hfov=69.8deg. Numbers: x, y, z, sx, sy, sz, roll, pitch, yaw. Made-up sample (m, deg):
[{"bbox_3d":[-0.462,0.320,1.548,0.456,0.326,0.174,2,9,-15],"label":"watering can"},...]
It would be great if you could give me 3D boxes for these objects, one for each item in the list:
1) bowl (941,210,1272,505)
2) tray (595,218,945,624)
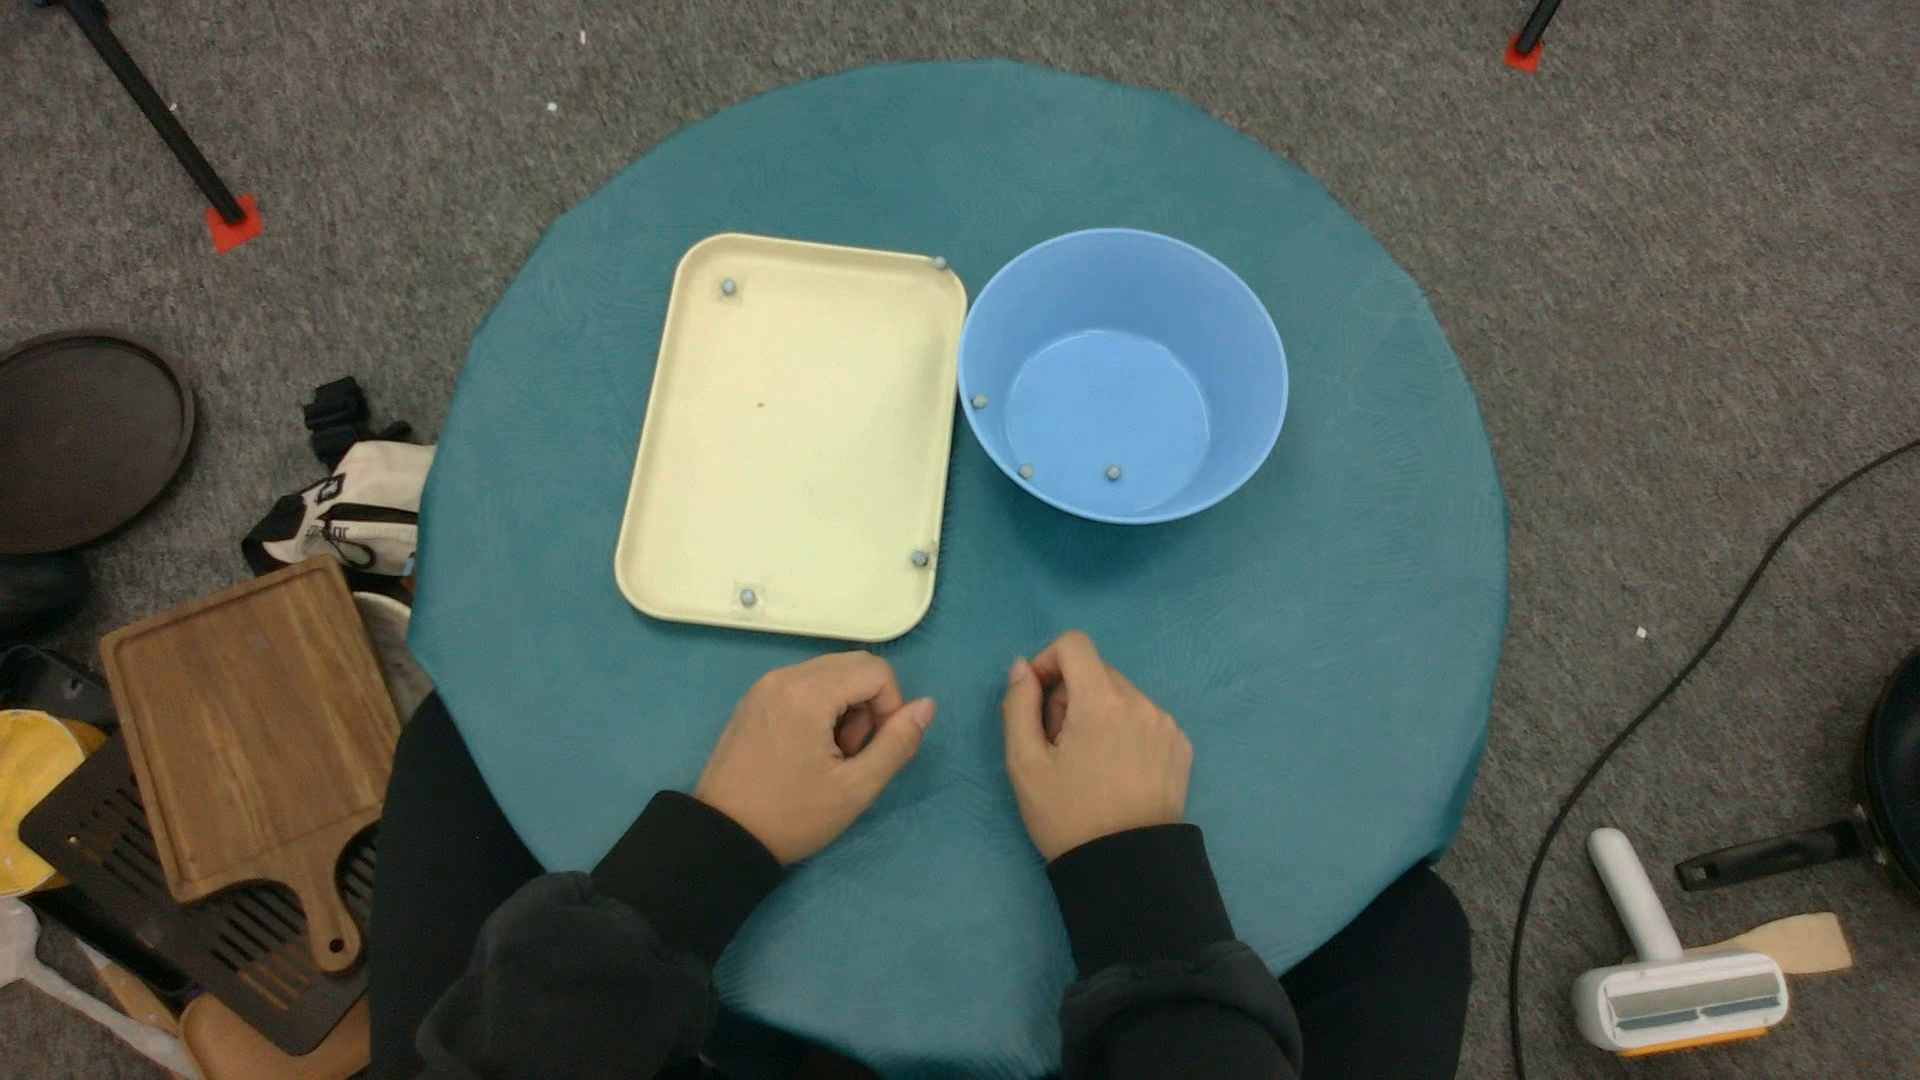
[{"bbox_3d":[0.077,-0.089,0.756,0.176,0.070,0.176,1,68,-2],"label":"bowl"},{"bbox_3d":[-0.100,-0.070,0.766,0.171,0.017,0.240,6,68,-1],"label":"tray"}]
